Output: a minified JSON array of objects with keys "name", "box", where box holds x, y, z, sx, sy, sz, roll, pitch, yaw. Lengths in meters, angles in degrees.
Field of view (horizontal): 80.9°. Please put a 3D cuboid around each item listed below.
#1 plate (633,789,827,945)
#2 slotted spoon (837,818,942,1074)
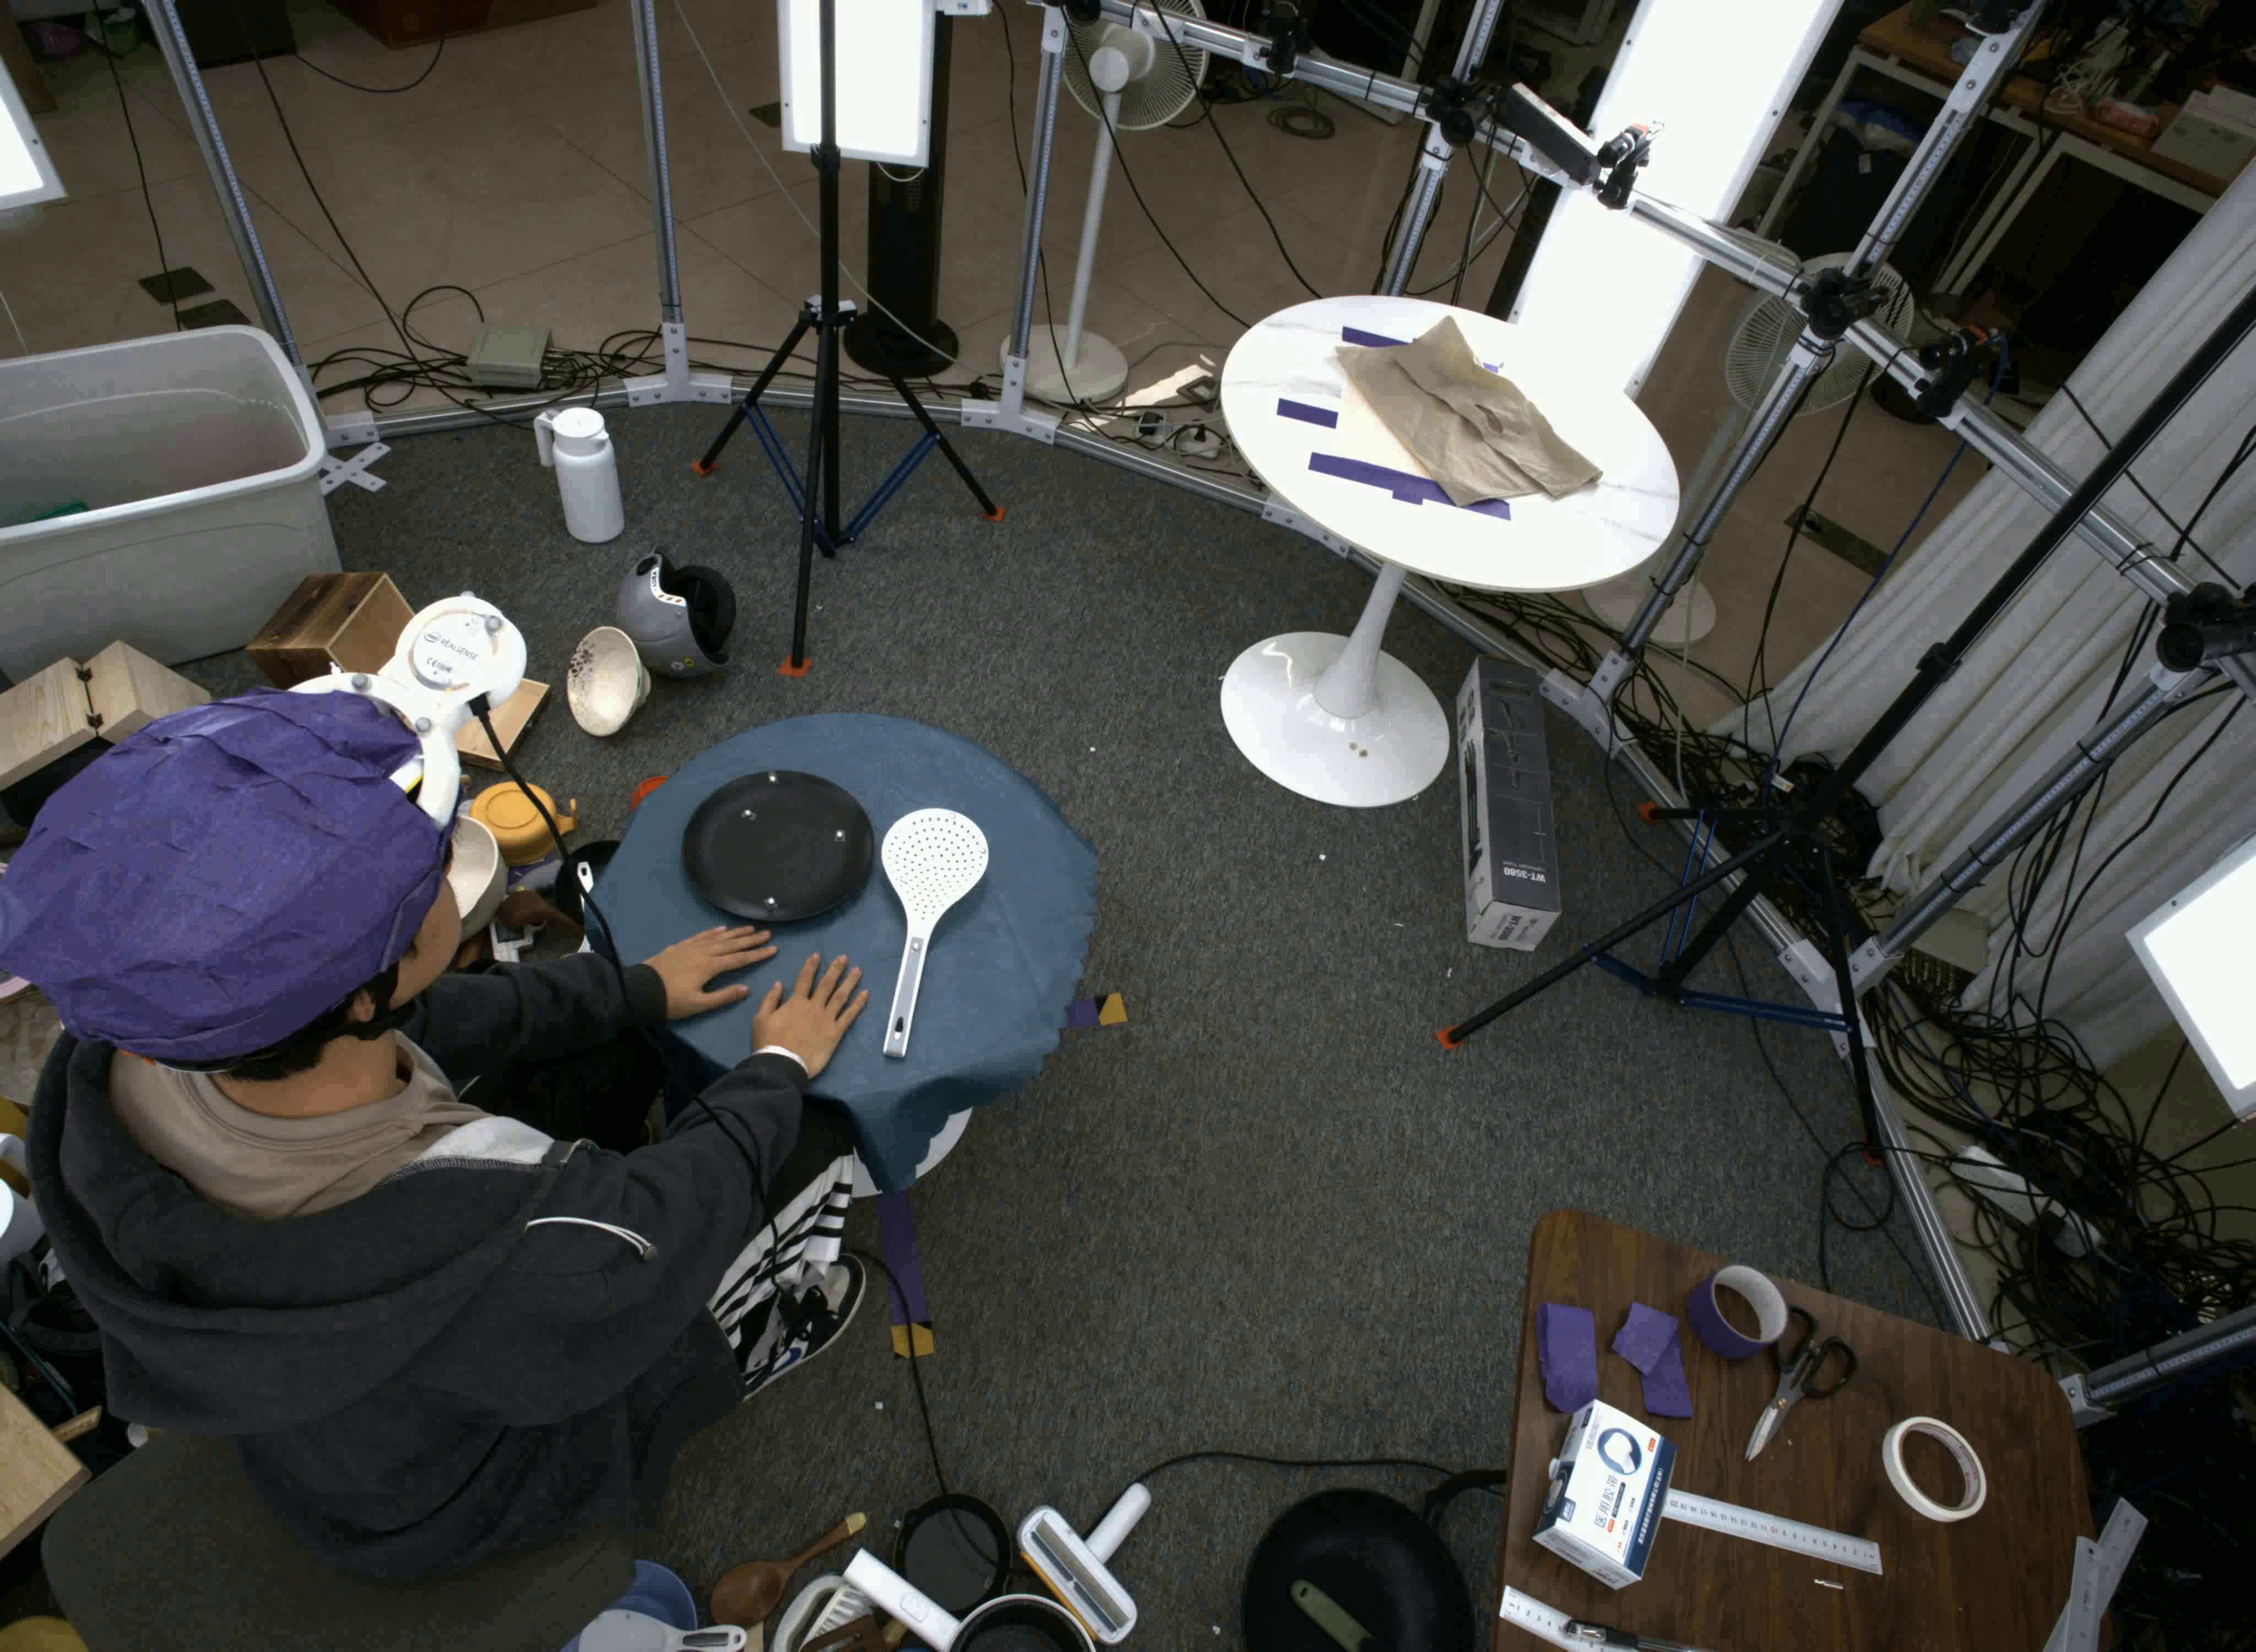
[{"name":"plate","box":[-0.508,0.051,1.654,0.244,0.024,0.240,8,52,-9]},{"name":"slotted spoon","box":[-0.311,0.141,1.623,0.135,0.047,0.343,6,54,-7]}]
